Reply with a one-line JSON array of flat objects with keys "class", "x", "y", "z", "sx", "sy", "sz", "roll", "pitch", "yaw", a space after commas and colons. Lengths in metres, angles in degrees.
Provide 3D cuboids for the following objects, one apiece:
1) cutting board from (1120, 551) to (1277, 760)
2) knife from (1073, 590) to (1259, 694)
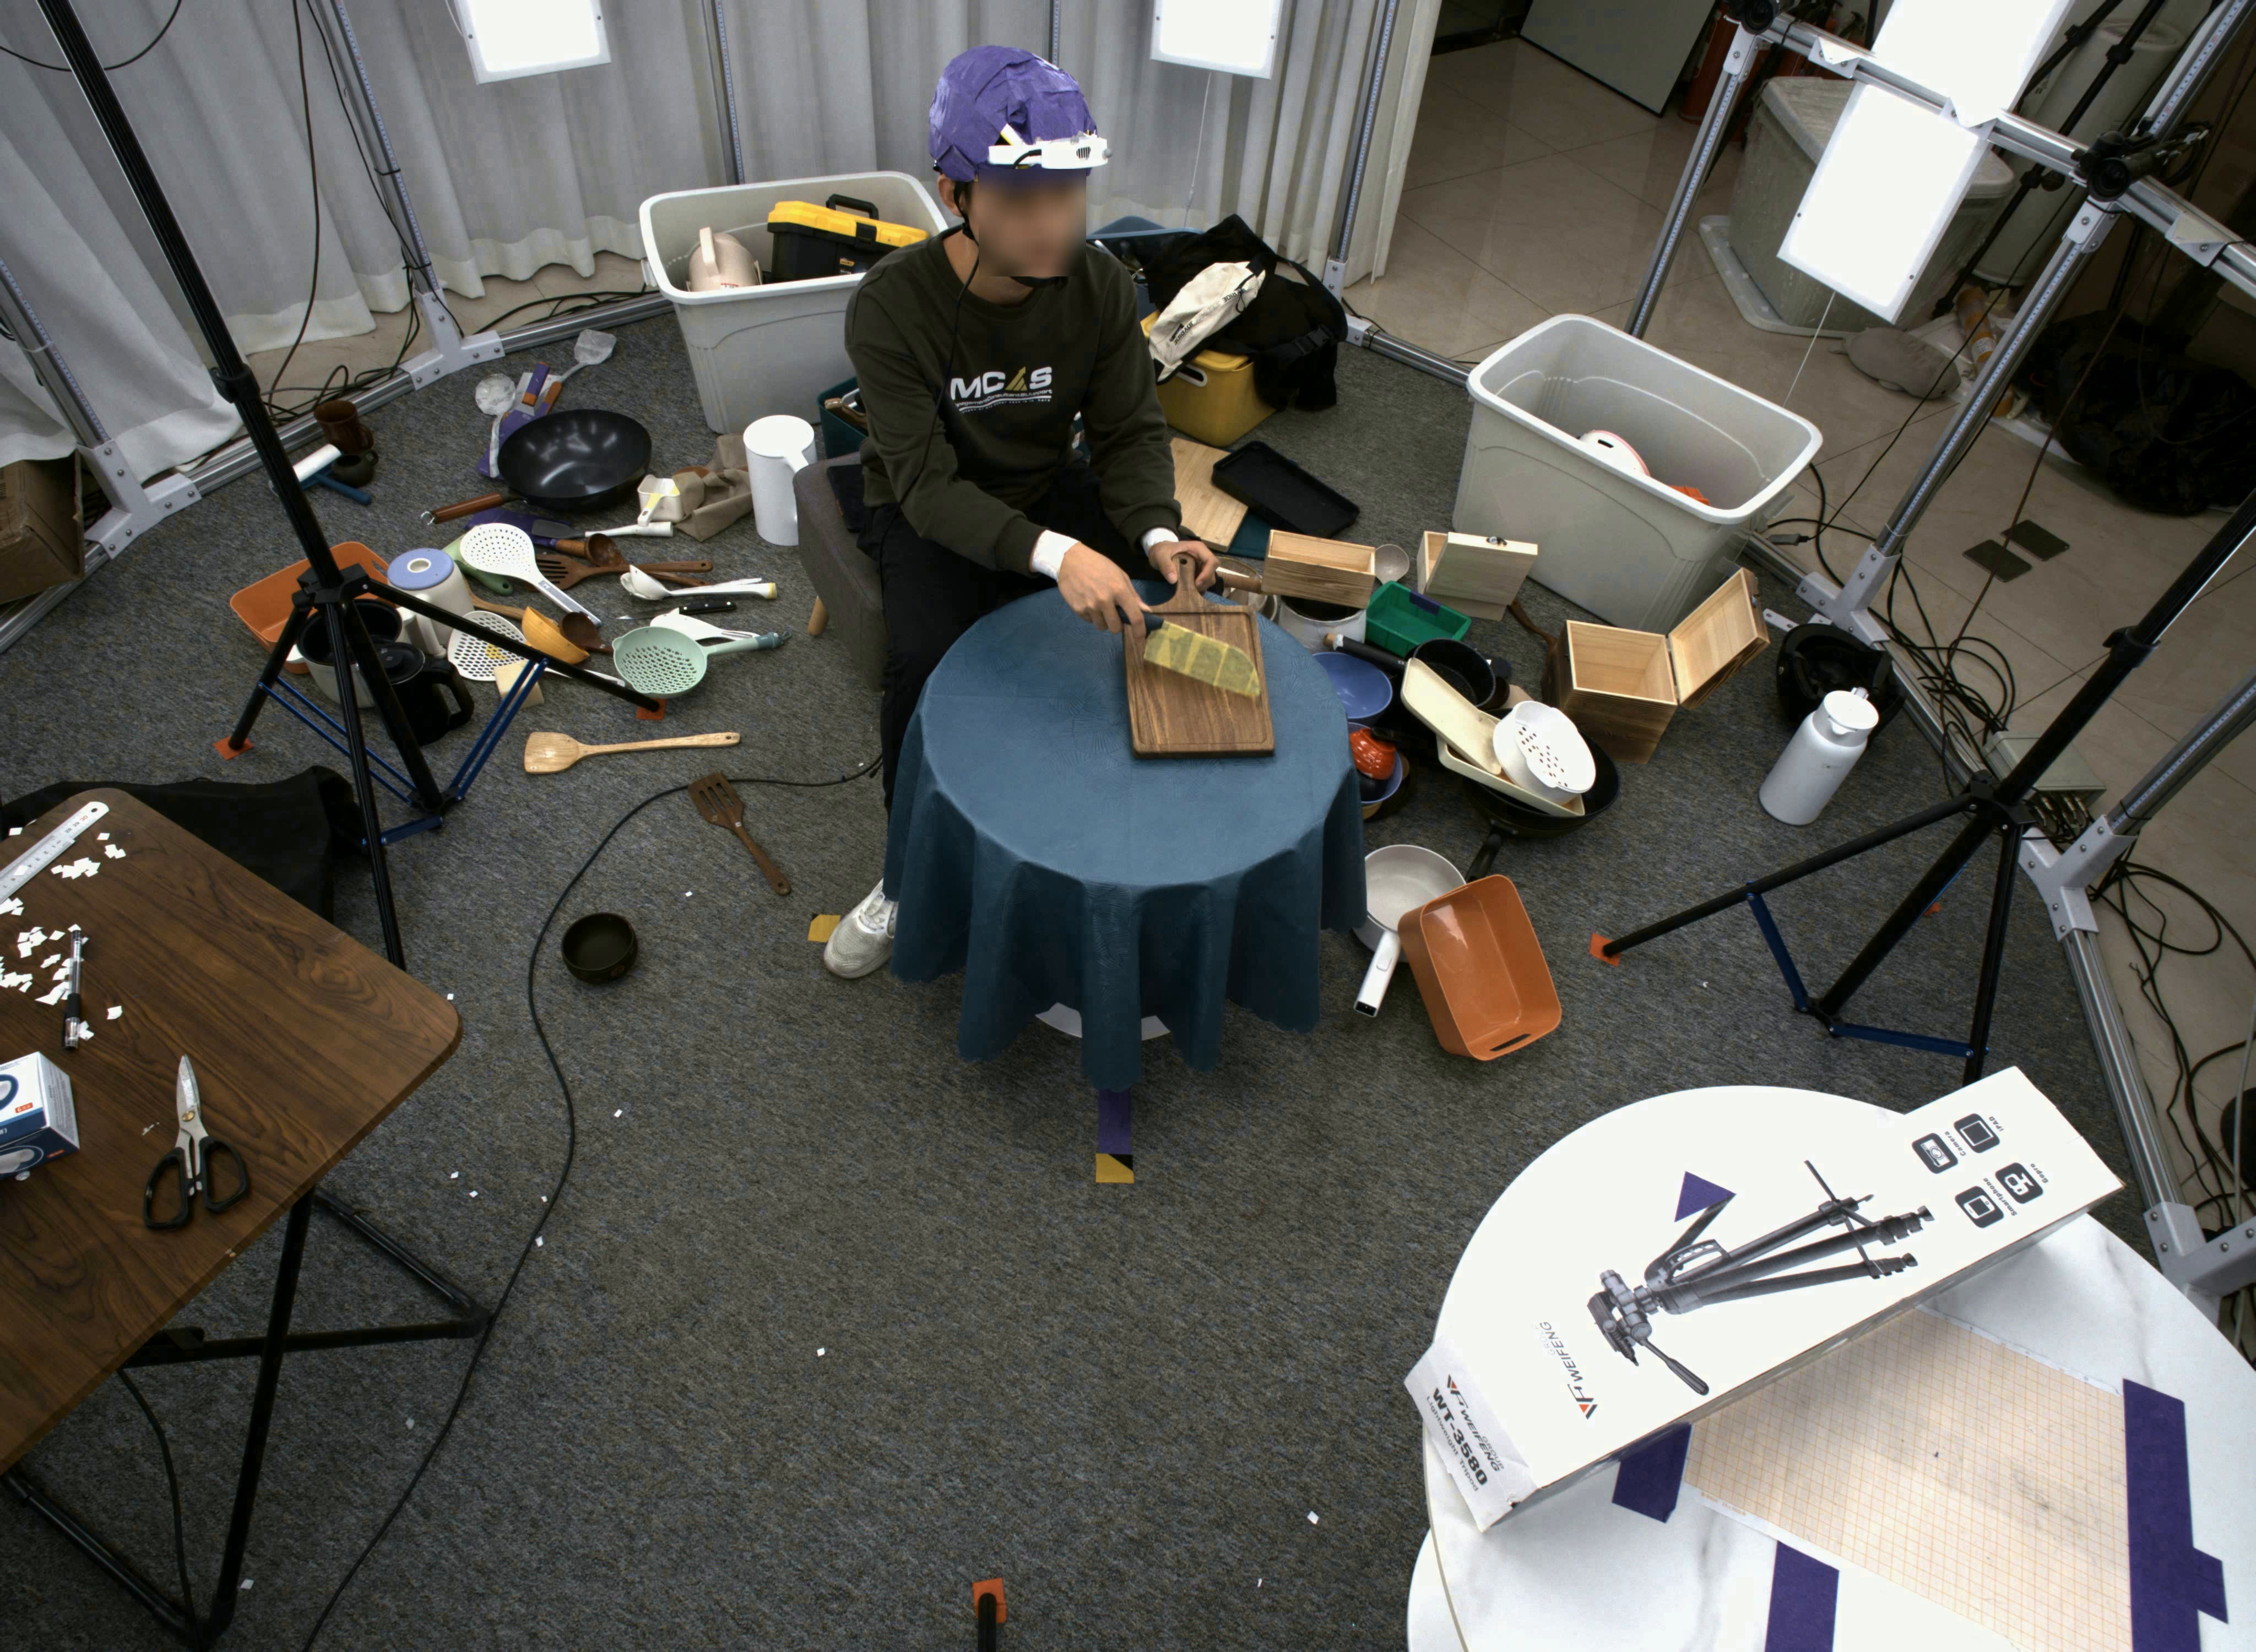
[{"class": "cutting board", "x": 0.093, "y": -0.251, "z": 1.835, "sx": 0.201, "sy": 0.023, "sz": 0.360, "roll": -2, "pitch": 60, "yaw": -6}, {"class": "knife", "x": 0.052, "y": -0.255, "z": 1.787, "sx": 0.290, "sy": 0.079, "sz": 0.028, "roll": 26, "pitch": 41, "yaw": 7}]
